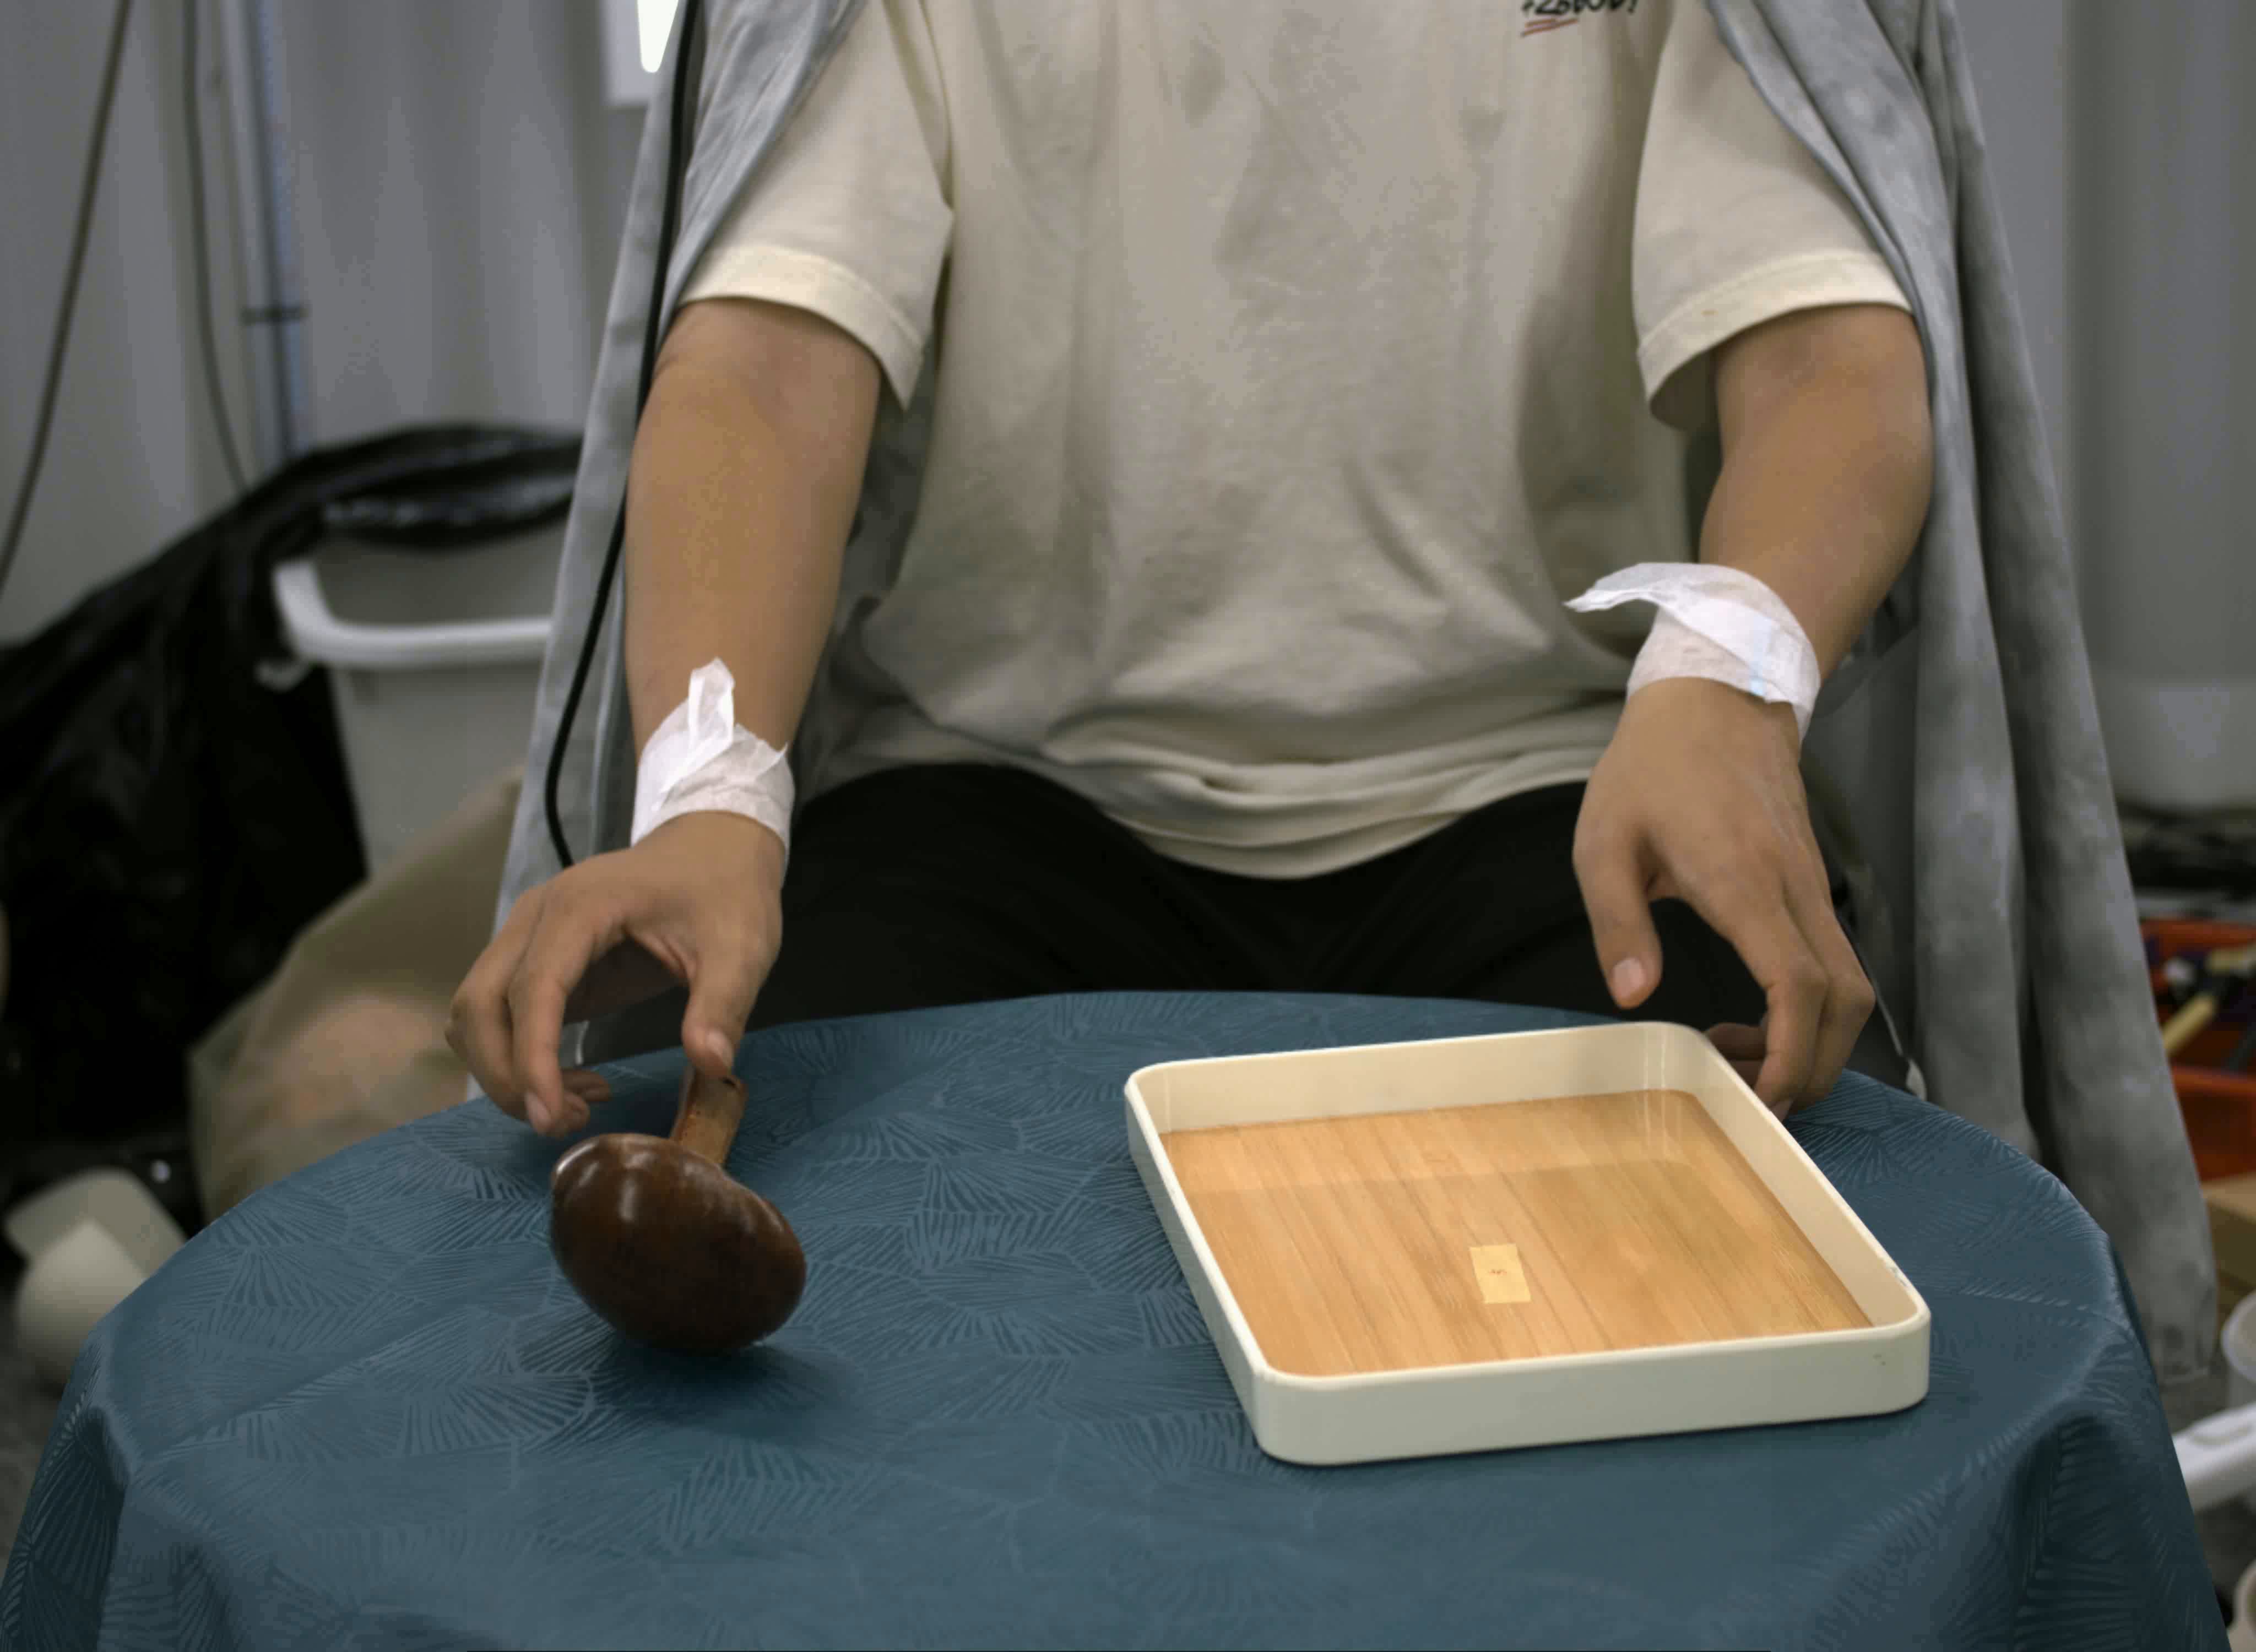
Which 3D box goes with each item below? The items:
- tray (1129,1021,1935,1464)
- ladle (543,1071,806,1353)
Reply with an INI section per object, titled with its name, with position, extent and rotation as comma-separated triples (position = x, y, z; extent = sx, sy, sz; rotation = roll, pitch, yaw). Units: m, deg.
[tray]
position = 0.112, 0.119, 1.628
extent = 0.191, 0.027, 0.302
rotation = -5, 15, -6
[ladle]
position = -0.125, 0.096, 1.680
extent = 0.081, 0.076, 0.275
rotation = 38, 14, -5
